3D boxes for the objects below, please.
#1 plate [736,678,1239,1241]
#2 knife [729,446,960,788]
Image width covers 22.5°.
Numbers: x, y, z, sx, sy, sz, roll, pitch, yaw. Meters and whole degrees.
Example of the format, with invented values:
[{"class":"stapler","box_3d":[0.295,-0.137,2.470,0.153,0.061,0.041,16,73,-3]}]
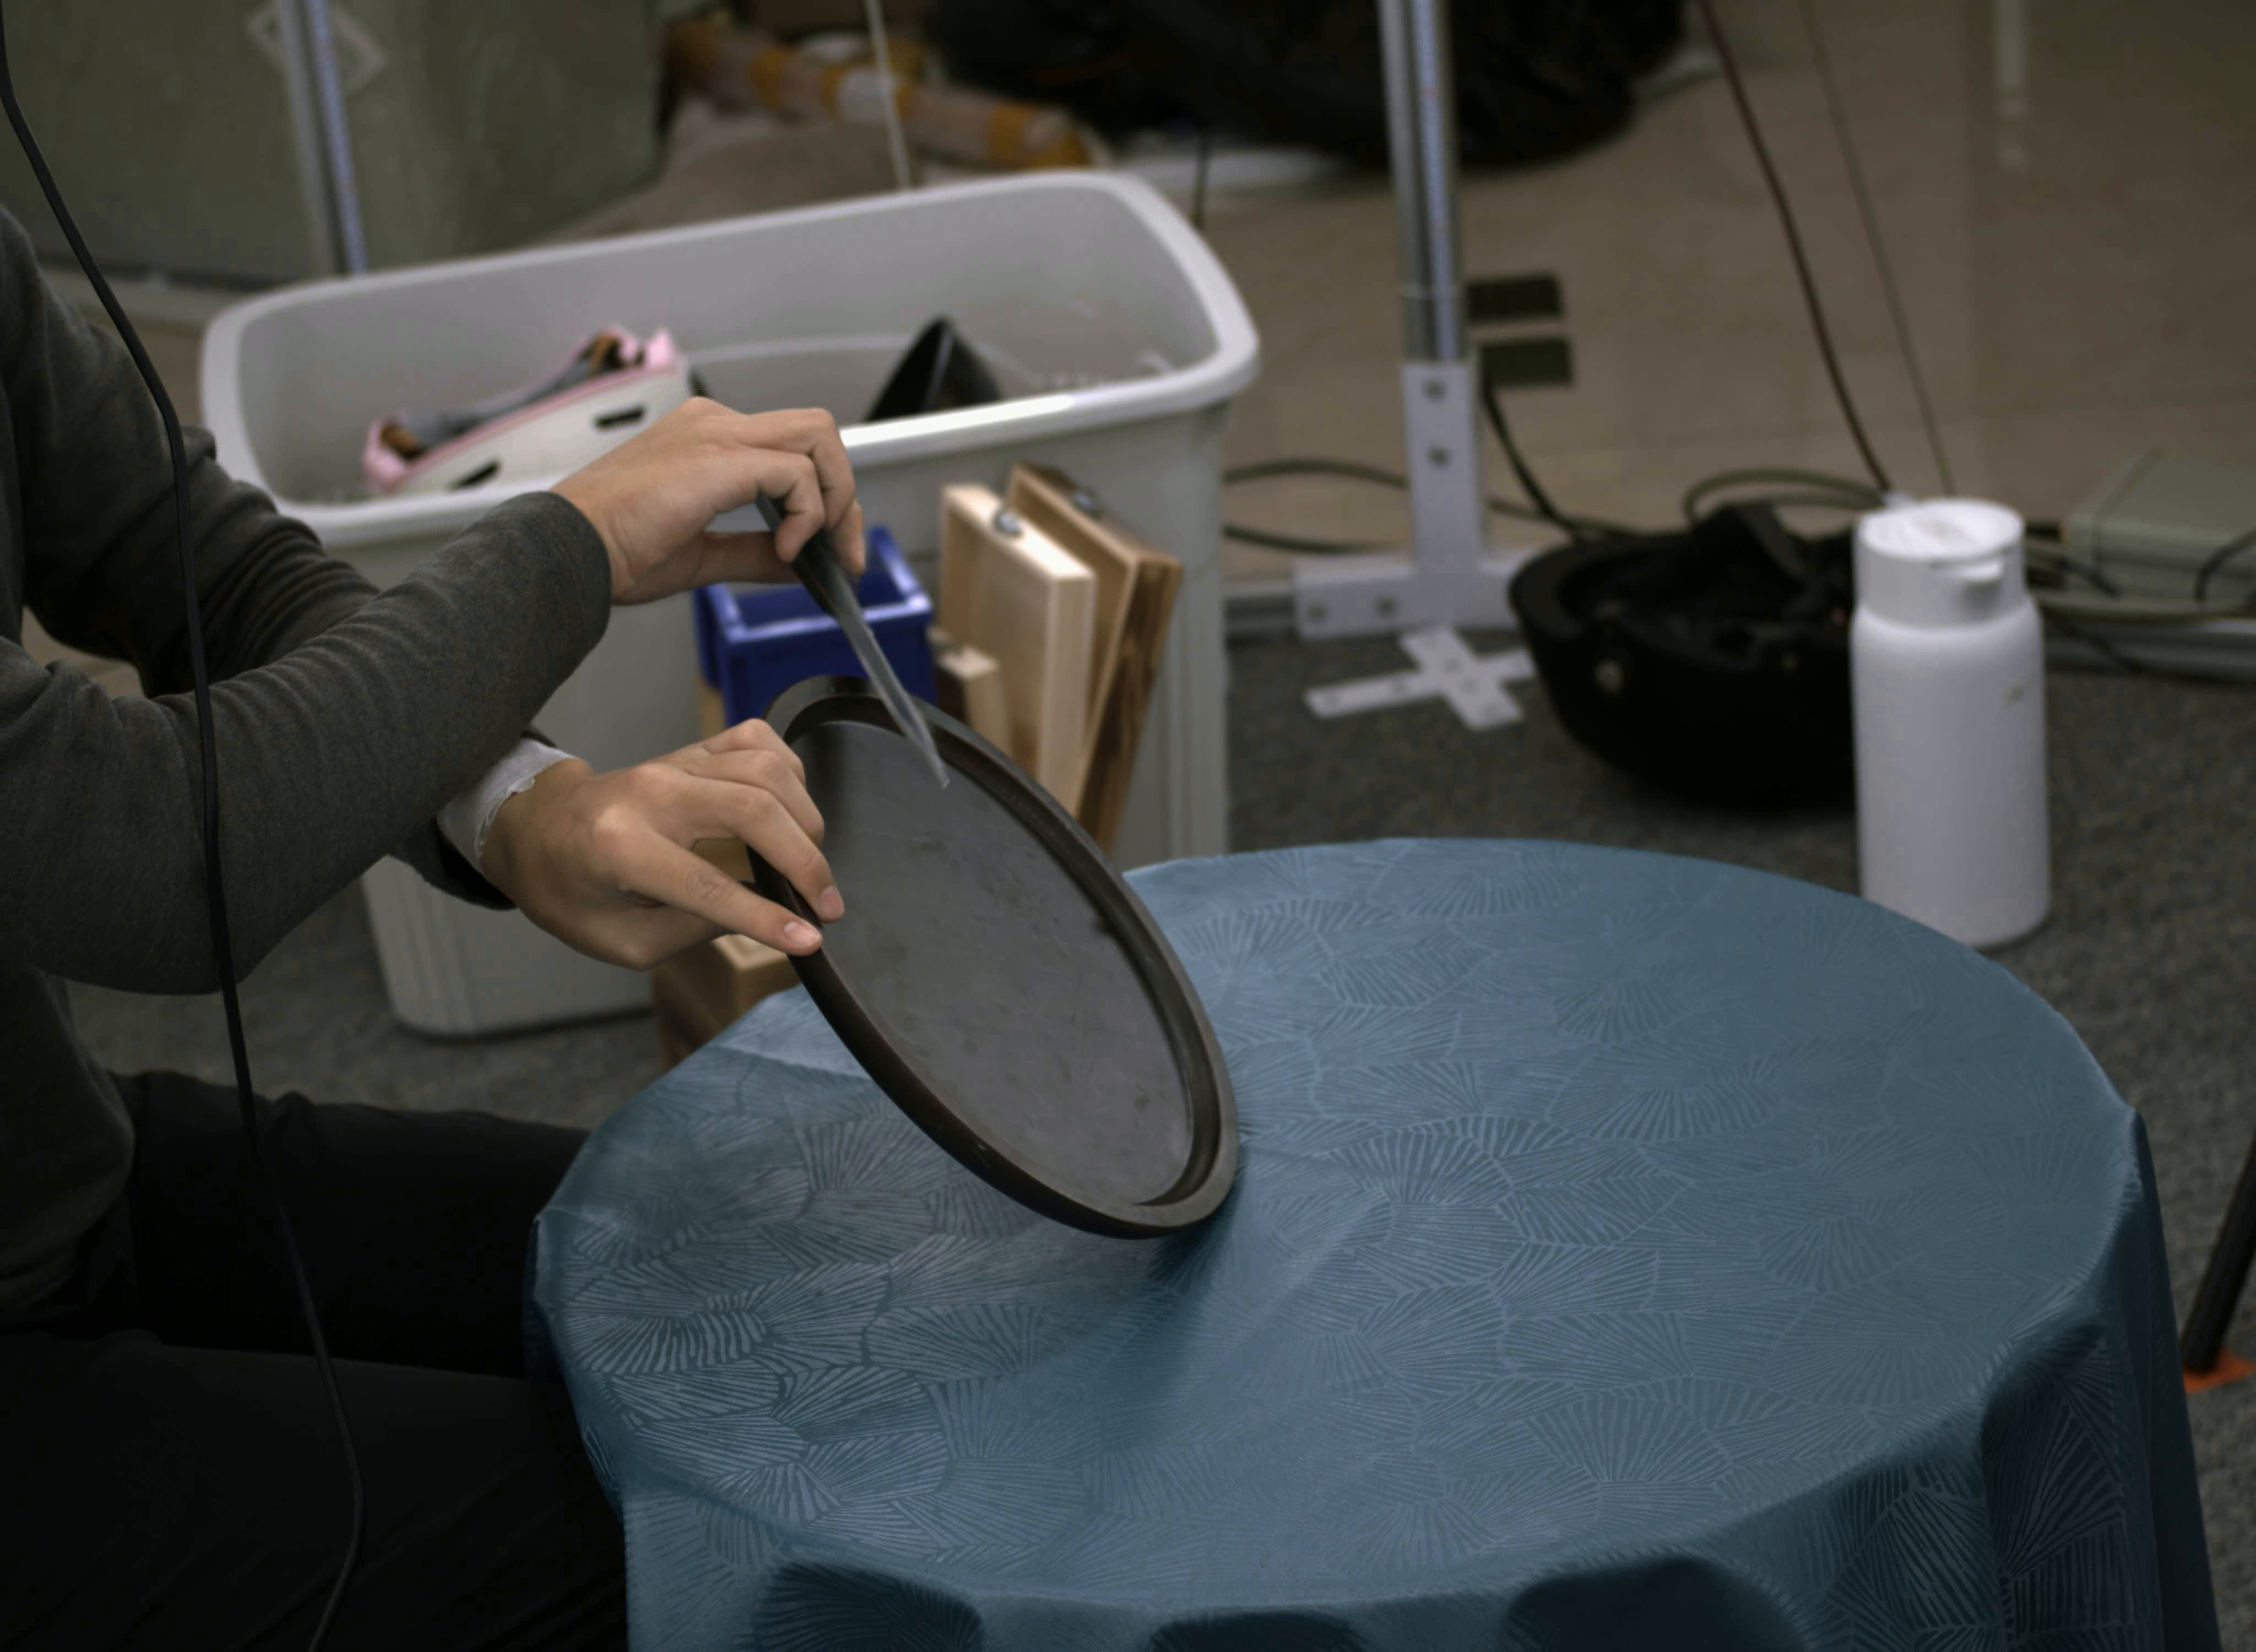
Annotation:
[{"class":"plate","box_3d":[-0.053,0.050,2.120,0.029,0.256,0.251,-39,15,23]},{"class":"knife","box_3d":[-0.109,-0.083,2.174,0.016,0.025,0.234,-41,43,7]}]
